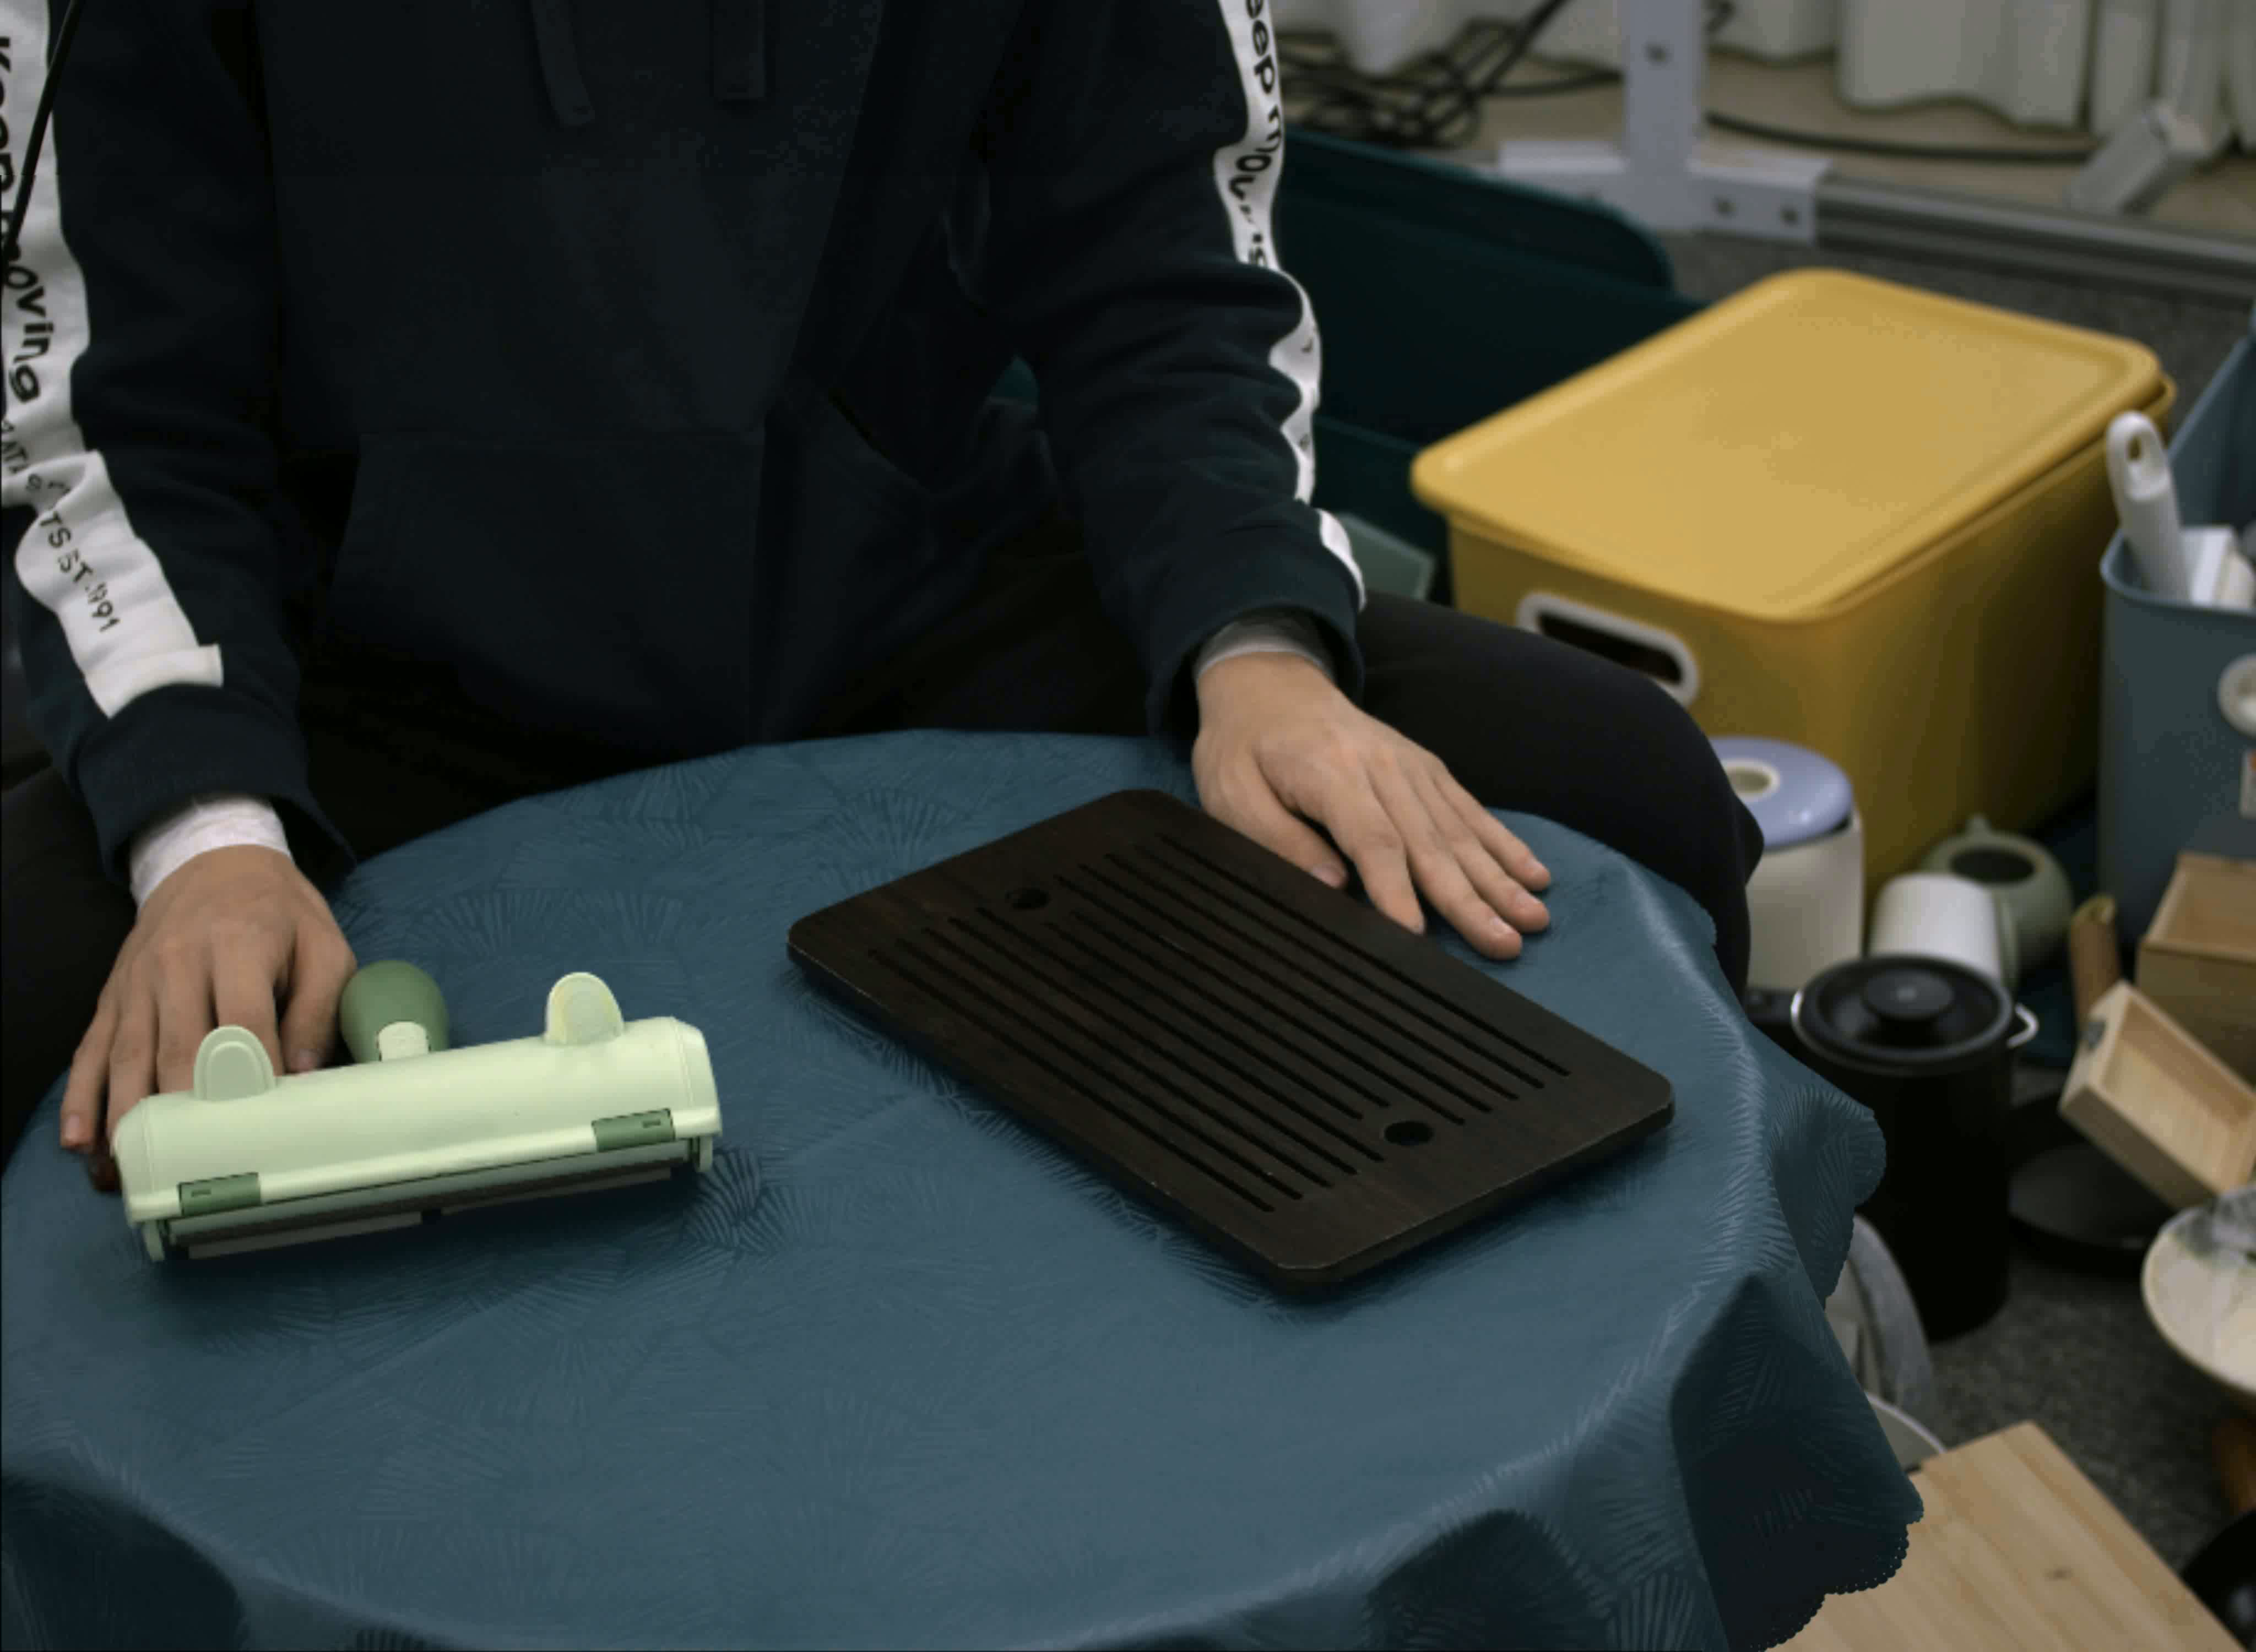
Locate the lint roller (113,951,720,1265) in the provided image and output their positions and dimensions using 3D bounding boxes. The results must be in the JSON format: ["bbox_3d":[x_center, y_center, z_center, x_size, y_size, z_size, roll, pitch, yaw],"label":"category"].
[{"bbox_3d":[-0.246,0.070,1.897,0.198,0.081,0.185,-8,31,-10],"label":"lint roller"}]

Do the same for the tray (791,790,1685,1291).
[{"bbox_3d":[0.033,0.070,1.936,0.171,0.018,0.306,-22,33,-31],"label":"tray"}]
